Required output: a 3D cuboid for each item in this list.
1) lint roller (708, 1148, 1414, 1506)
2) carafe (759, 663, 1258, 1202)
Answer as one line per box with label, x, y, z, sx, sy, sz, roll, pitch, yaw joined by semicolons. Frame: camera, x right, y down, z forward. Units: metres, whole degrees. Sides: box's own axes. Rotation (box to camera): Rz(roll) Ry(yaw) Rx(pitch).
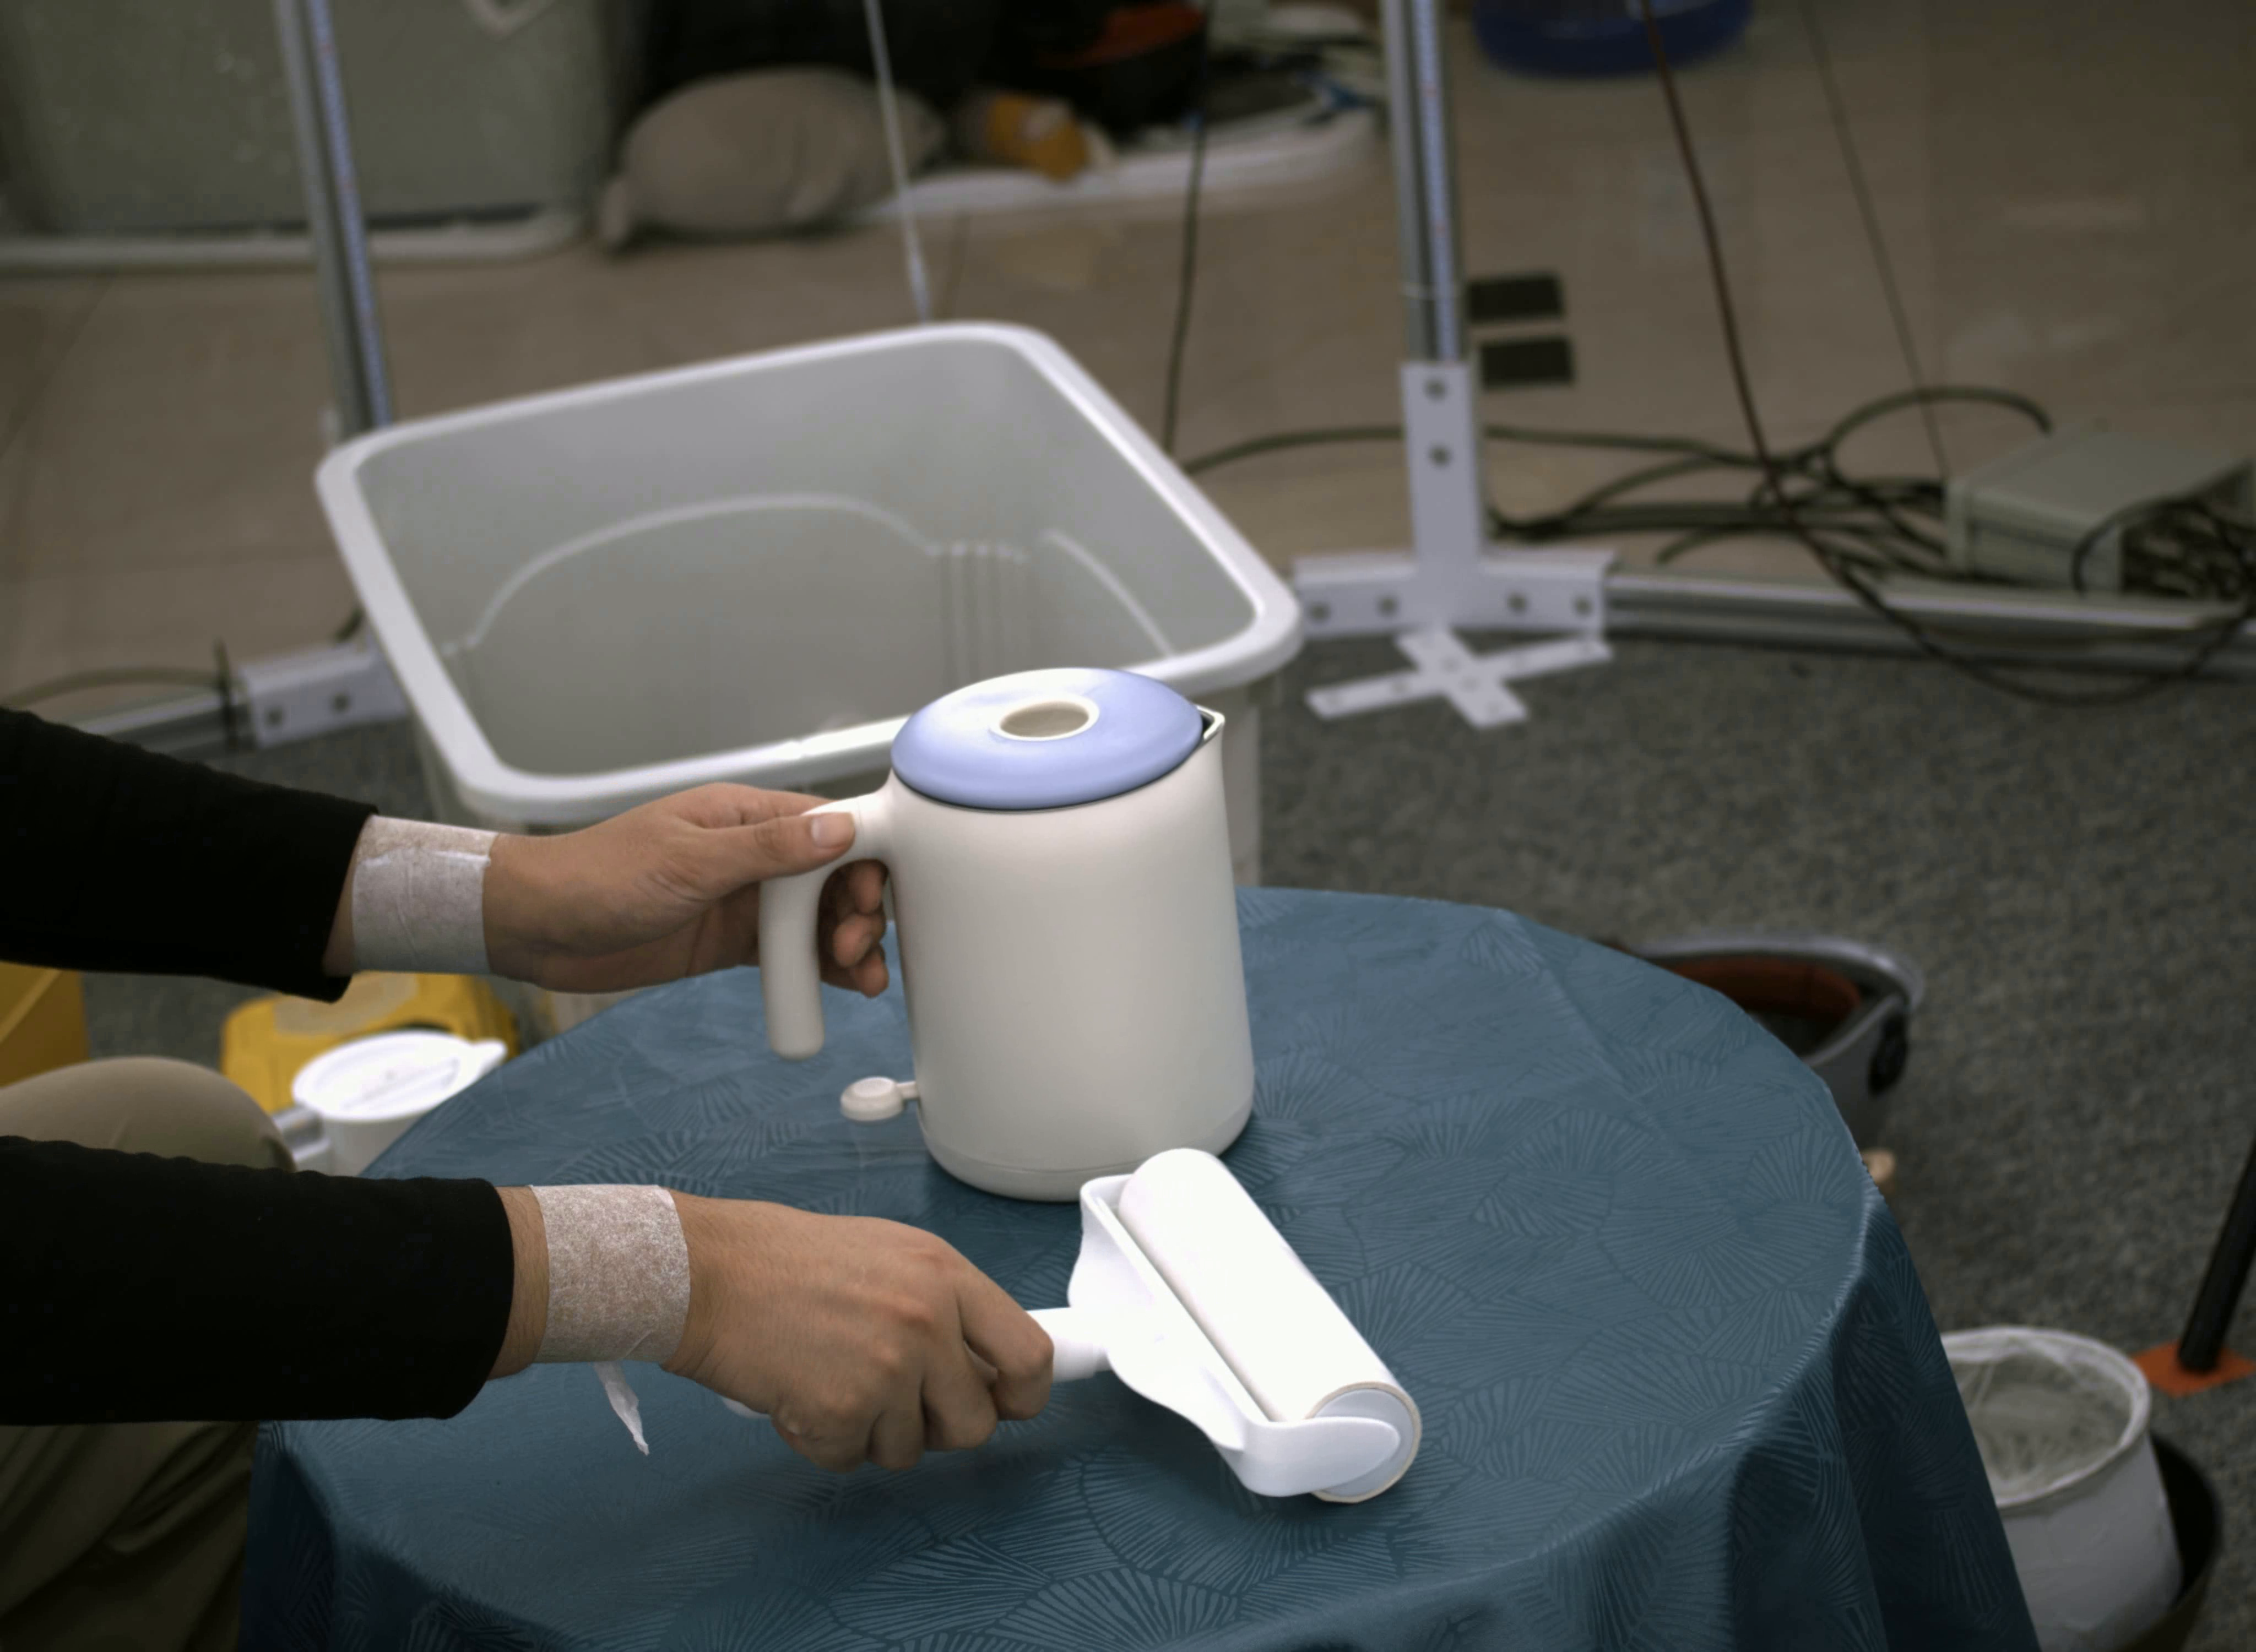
lint roller;-0.037;0.180;1.974;0.225;0.049;0.200;-4;24;-19
carafe;-0.047;0.045;2.155;0.190;0.185;0.130;-11;25;-6
